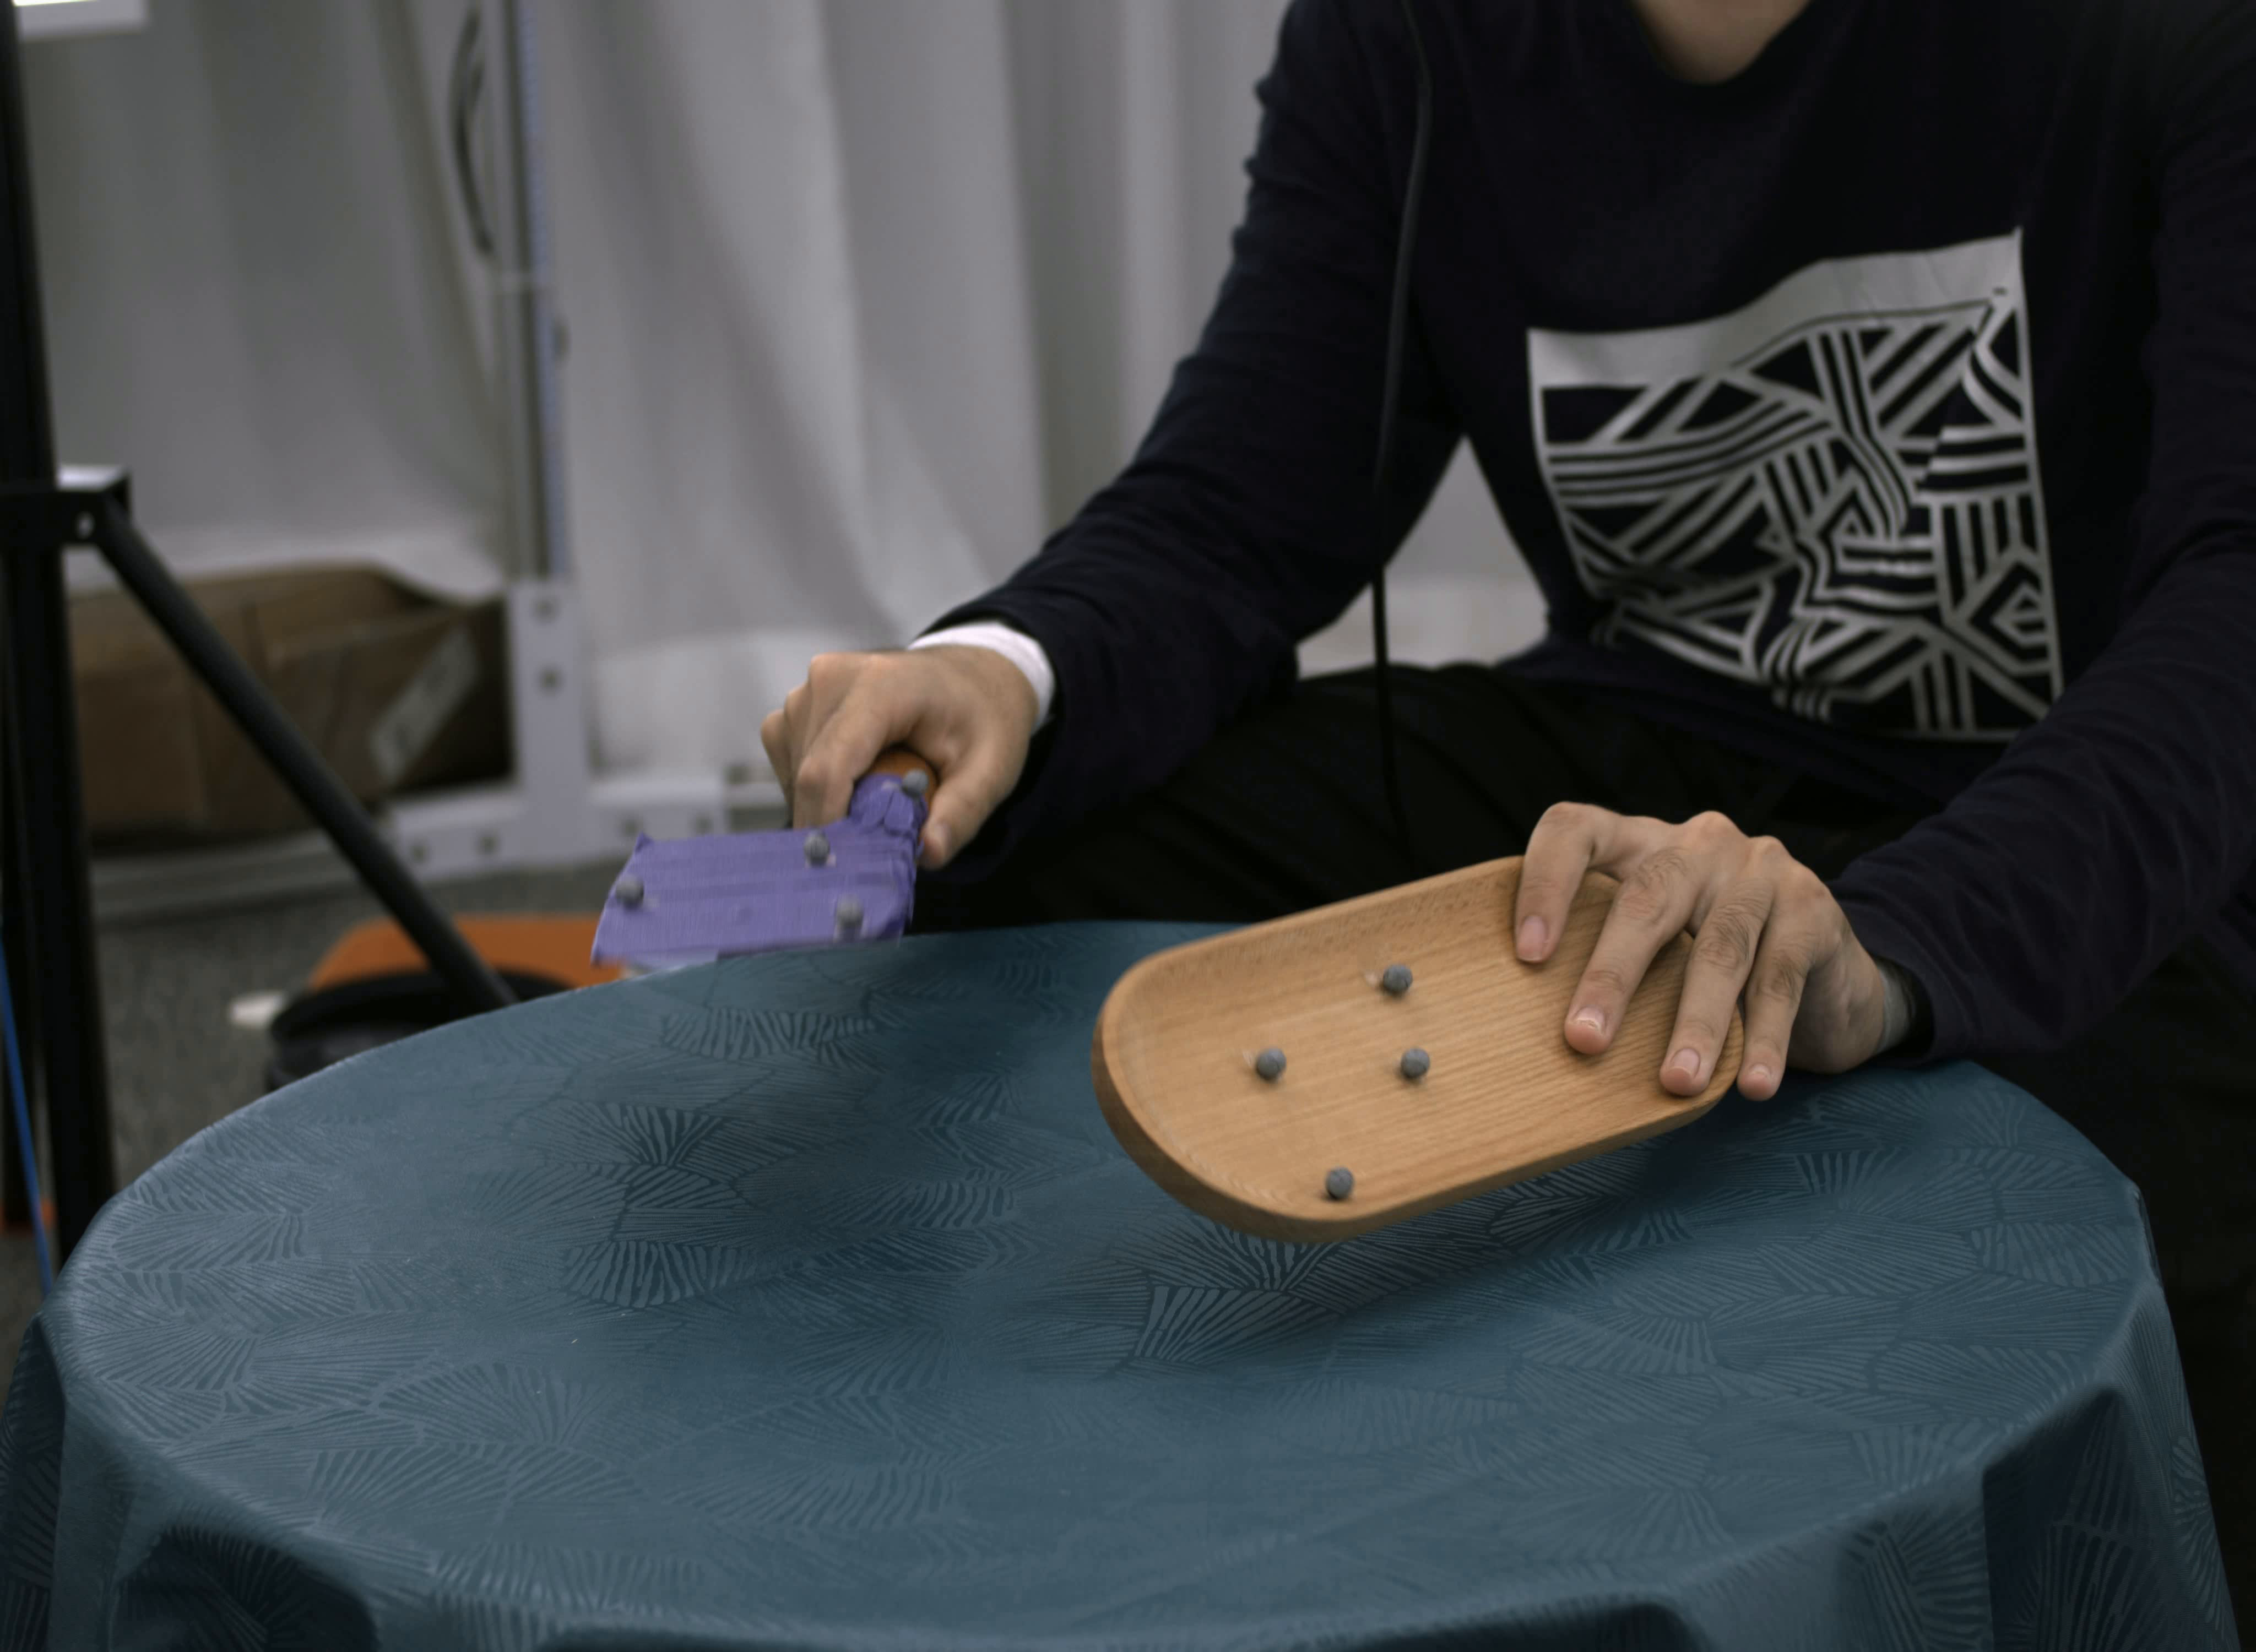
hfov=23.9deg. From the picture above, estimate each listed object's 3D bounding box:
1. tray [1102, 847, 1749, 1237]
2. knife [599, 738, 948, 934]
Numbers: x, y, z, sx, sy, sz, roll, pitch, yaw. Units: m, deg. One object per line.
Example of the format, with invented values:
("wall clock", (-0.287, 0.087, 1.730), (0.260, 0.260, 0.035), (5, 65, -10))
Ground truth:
("tray", (0.087, 0.060, 1.507), (0.225, 0.020, 0.103), (-13, 55, -41))
("knife", (-0.107, 0.002, 1.632), (0.103, 0.032, 0.316), (-3, 6, -2))
